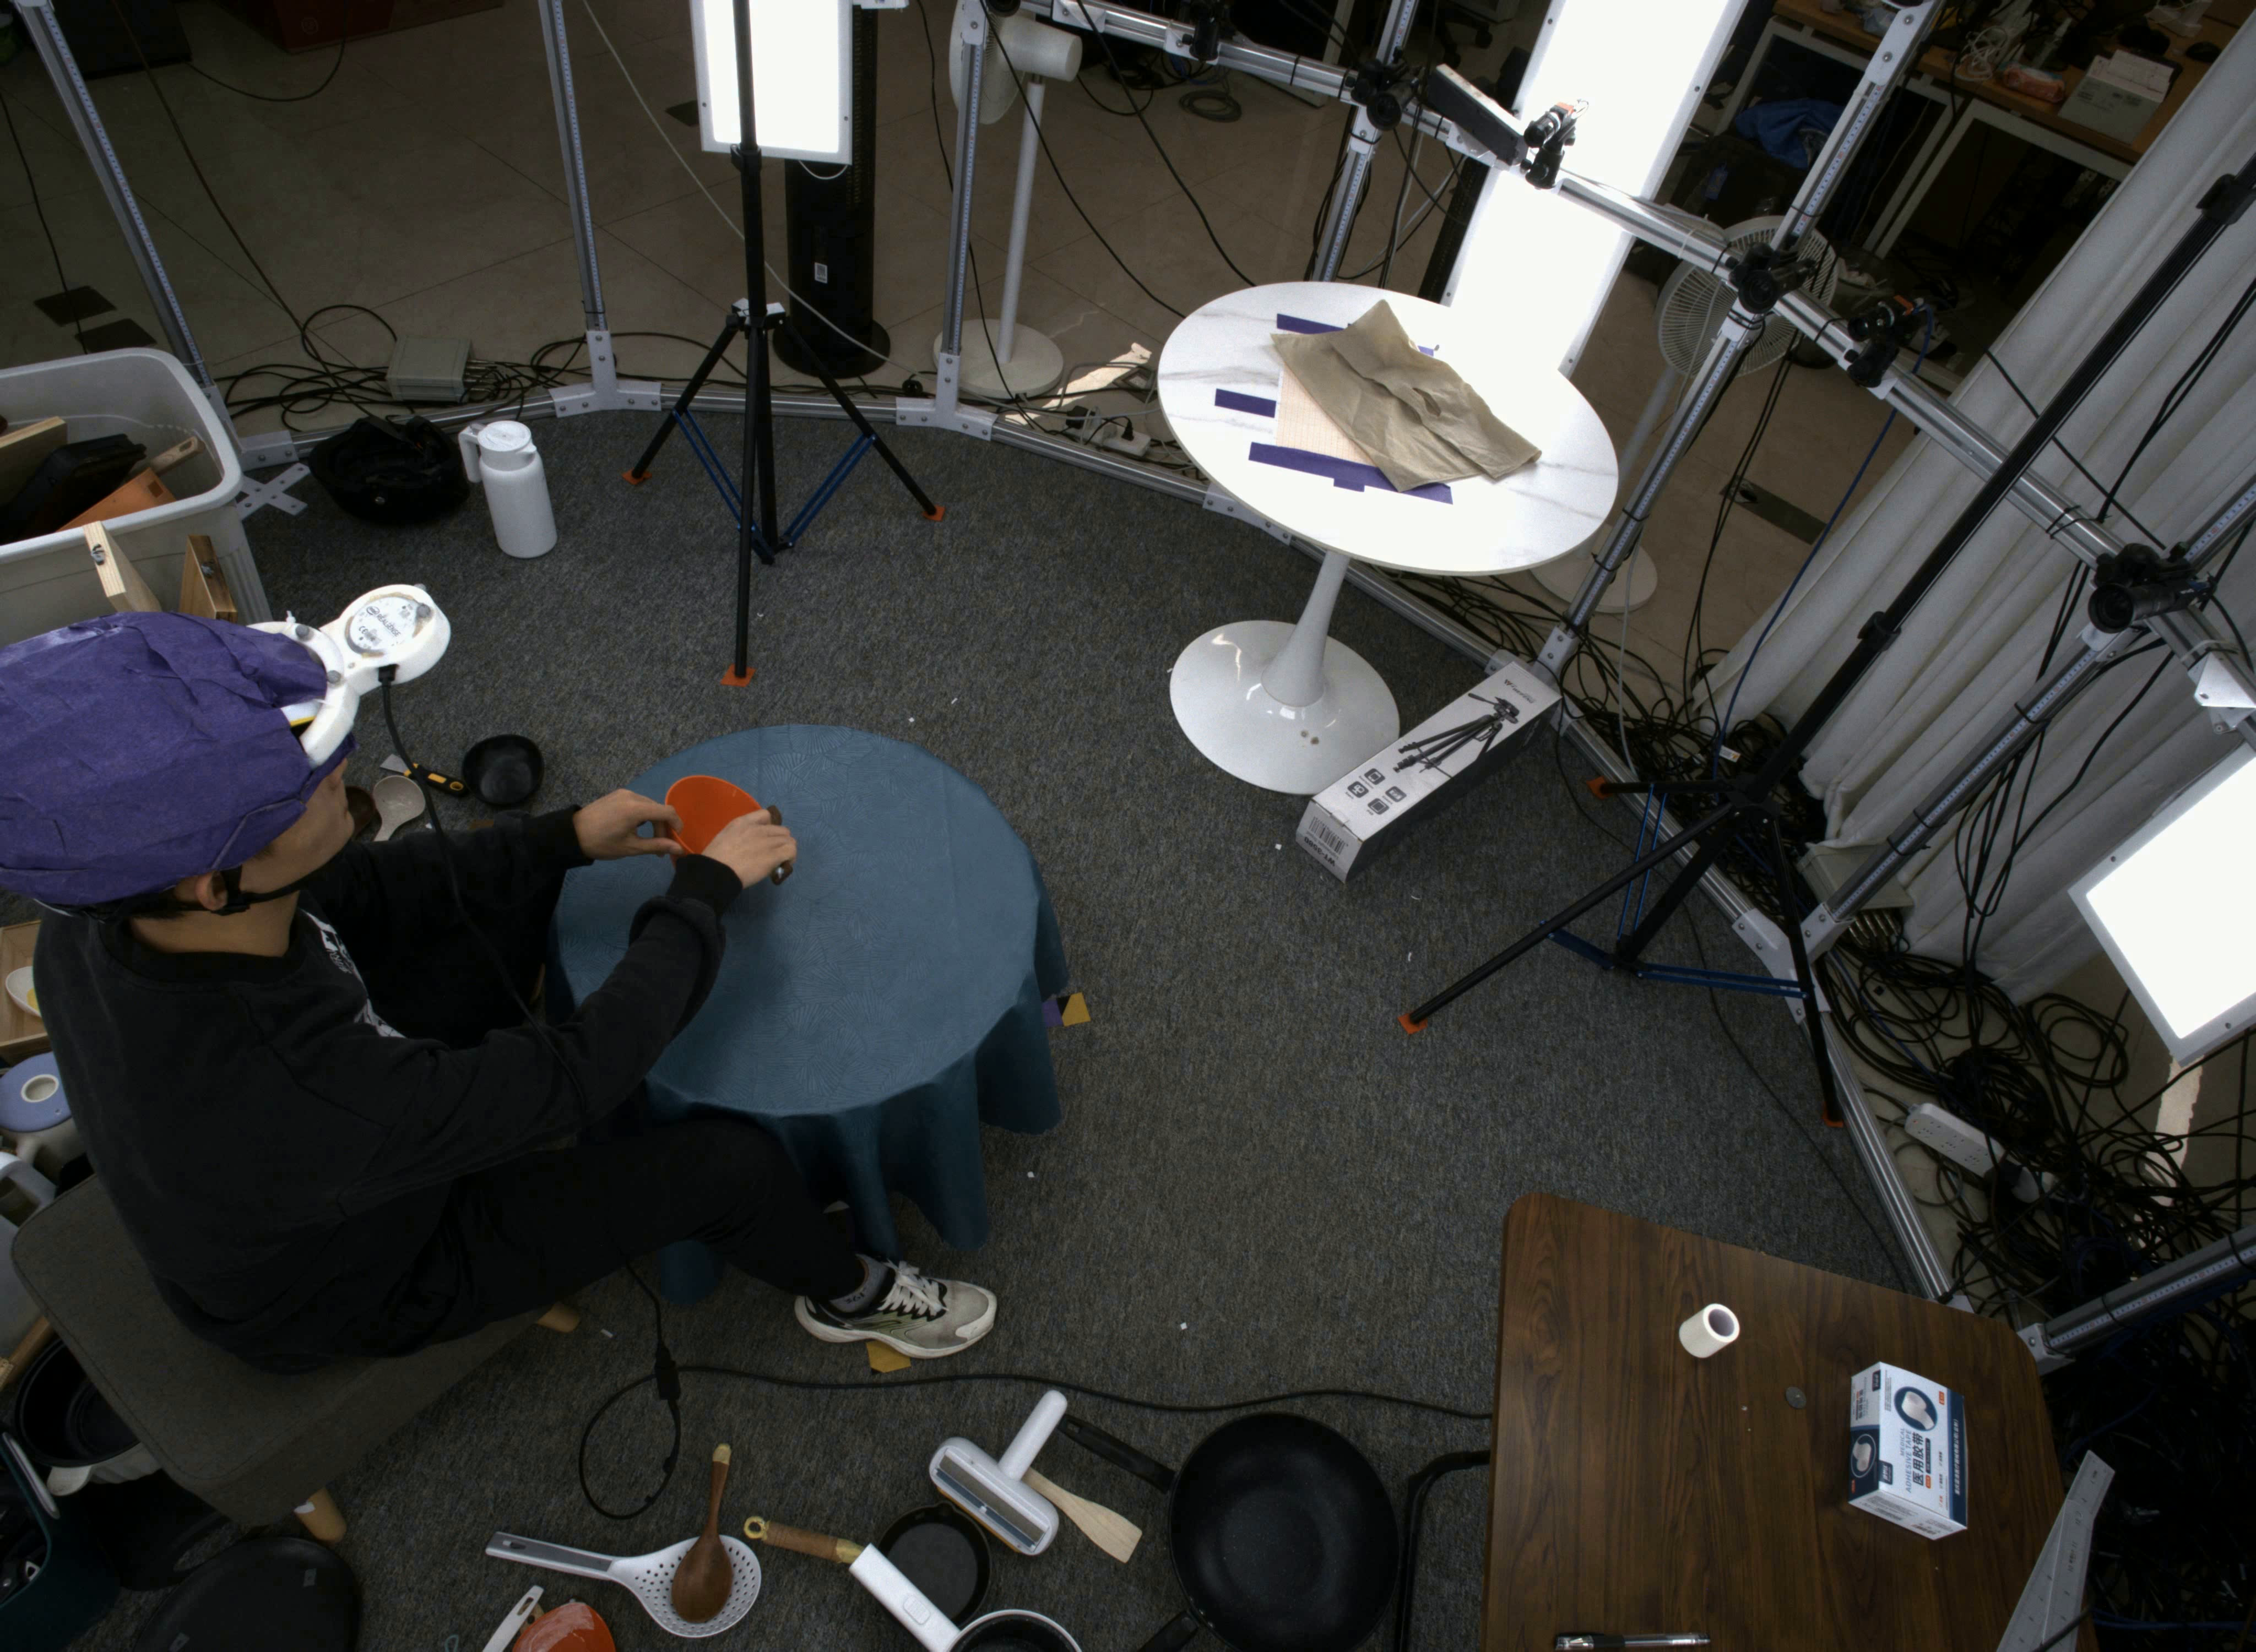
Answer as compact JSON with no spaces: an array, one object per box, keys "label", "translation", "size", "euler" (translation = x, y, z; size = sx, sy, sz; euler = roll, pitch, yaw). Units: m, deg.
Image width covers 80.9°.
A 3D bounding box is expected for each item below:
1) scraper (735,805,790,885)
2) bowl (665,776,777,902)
[{"label":"scraper","translation":[-0.433,0.028,1.560],"size":[0.076,0.011,0.204],"euler":[-46,29,-5]},{"label":"bowl","translation":[-0.519,0.025,1.608],"size":[0.150,0.105,0.145],"euler":[27,31,-16]}]
